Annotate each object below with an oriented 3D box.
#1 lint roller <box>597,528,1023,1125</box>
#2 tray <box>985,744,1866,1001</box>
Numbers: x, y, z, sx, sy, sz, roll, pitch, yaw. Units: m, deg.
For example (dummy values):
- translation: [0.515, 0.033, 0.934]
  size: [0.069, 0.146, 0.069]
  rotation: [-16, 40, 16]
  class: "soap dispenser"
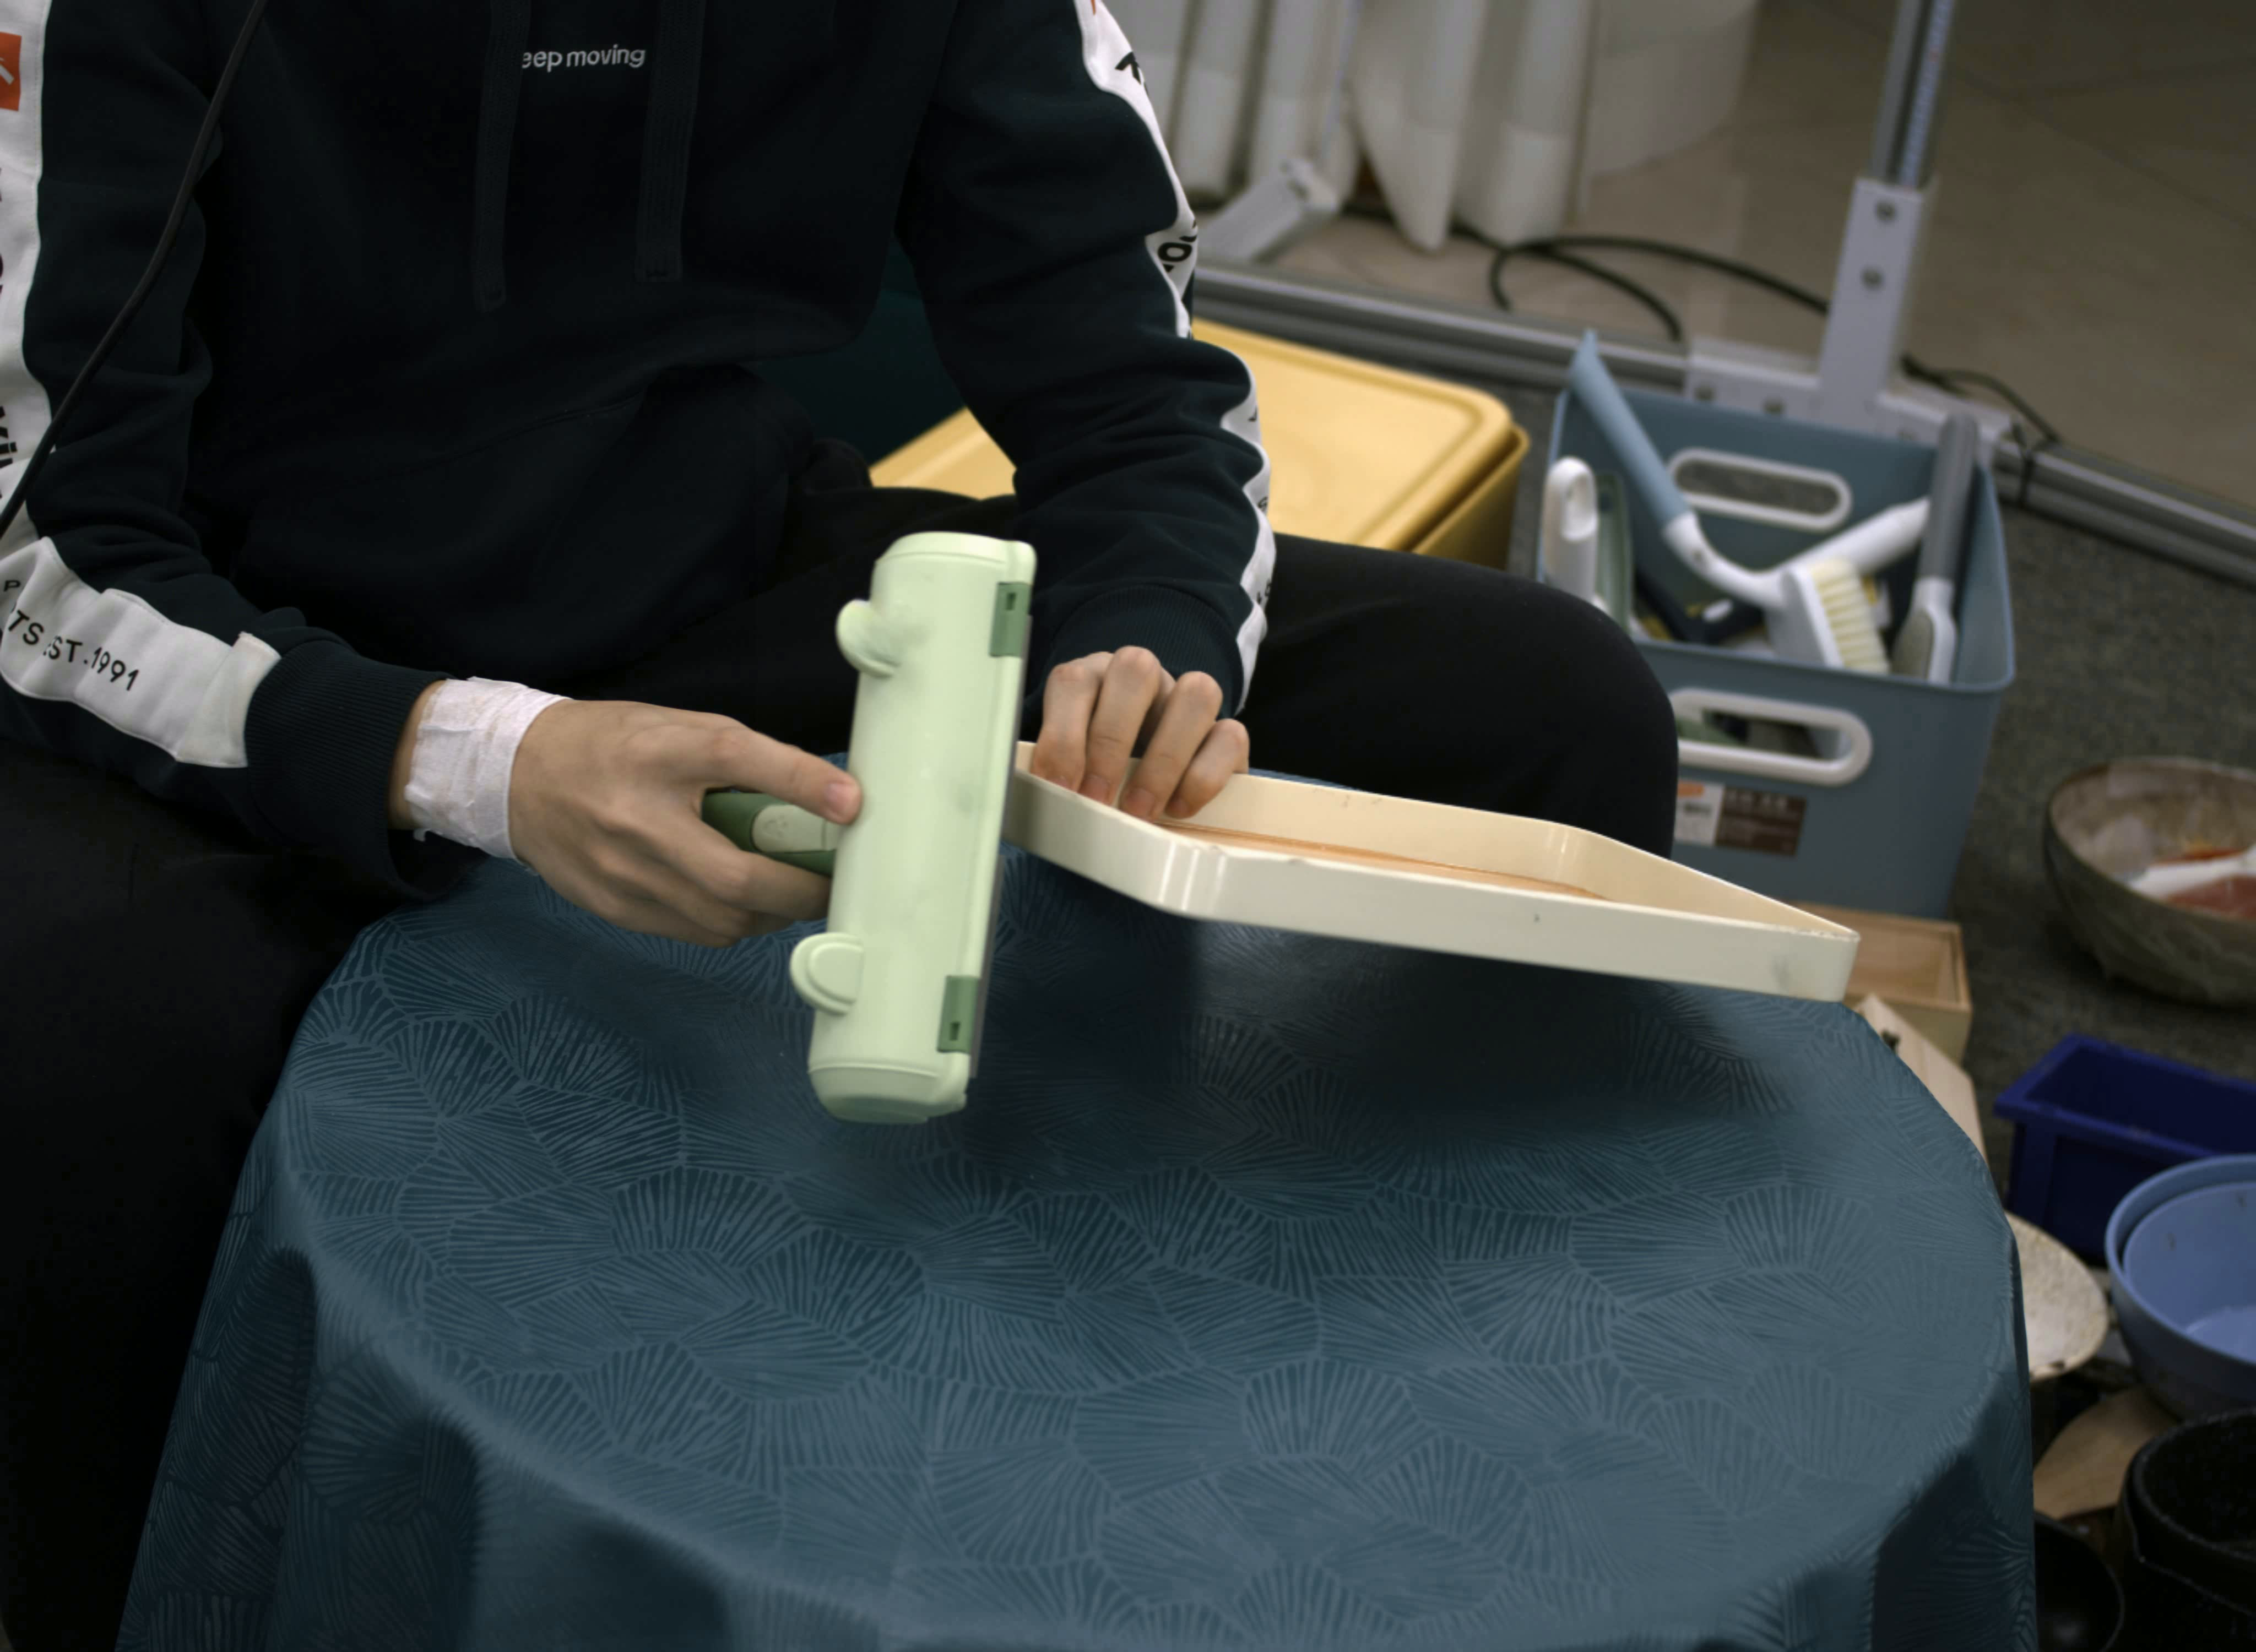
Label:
- translation: [-0.122, 0.000, 1.796]
  size: [0.184, 0.199, 0.081]
  rotation: [-2, -16, 31]
  class: "lint roller"
- translation: [0.093, 0.016, 1.878]
  size: [0.298, 0.027, 0.193]
  rotation: [8, 7, -32]
  class: "tray"
